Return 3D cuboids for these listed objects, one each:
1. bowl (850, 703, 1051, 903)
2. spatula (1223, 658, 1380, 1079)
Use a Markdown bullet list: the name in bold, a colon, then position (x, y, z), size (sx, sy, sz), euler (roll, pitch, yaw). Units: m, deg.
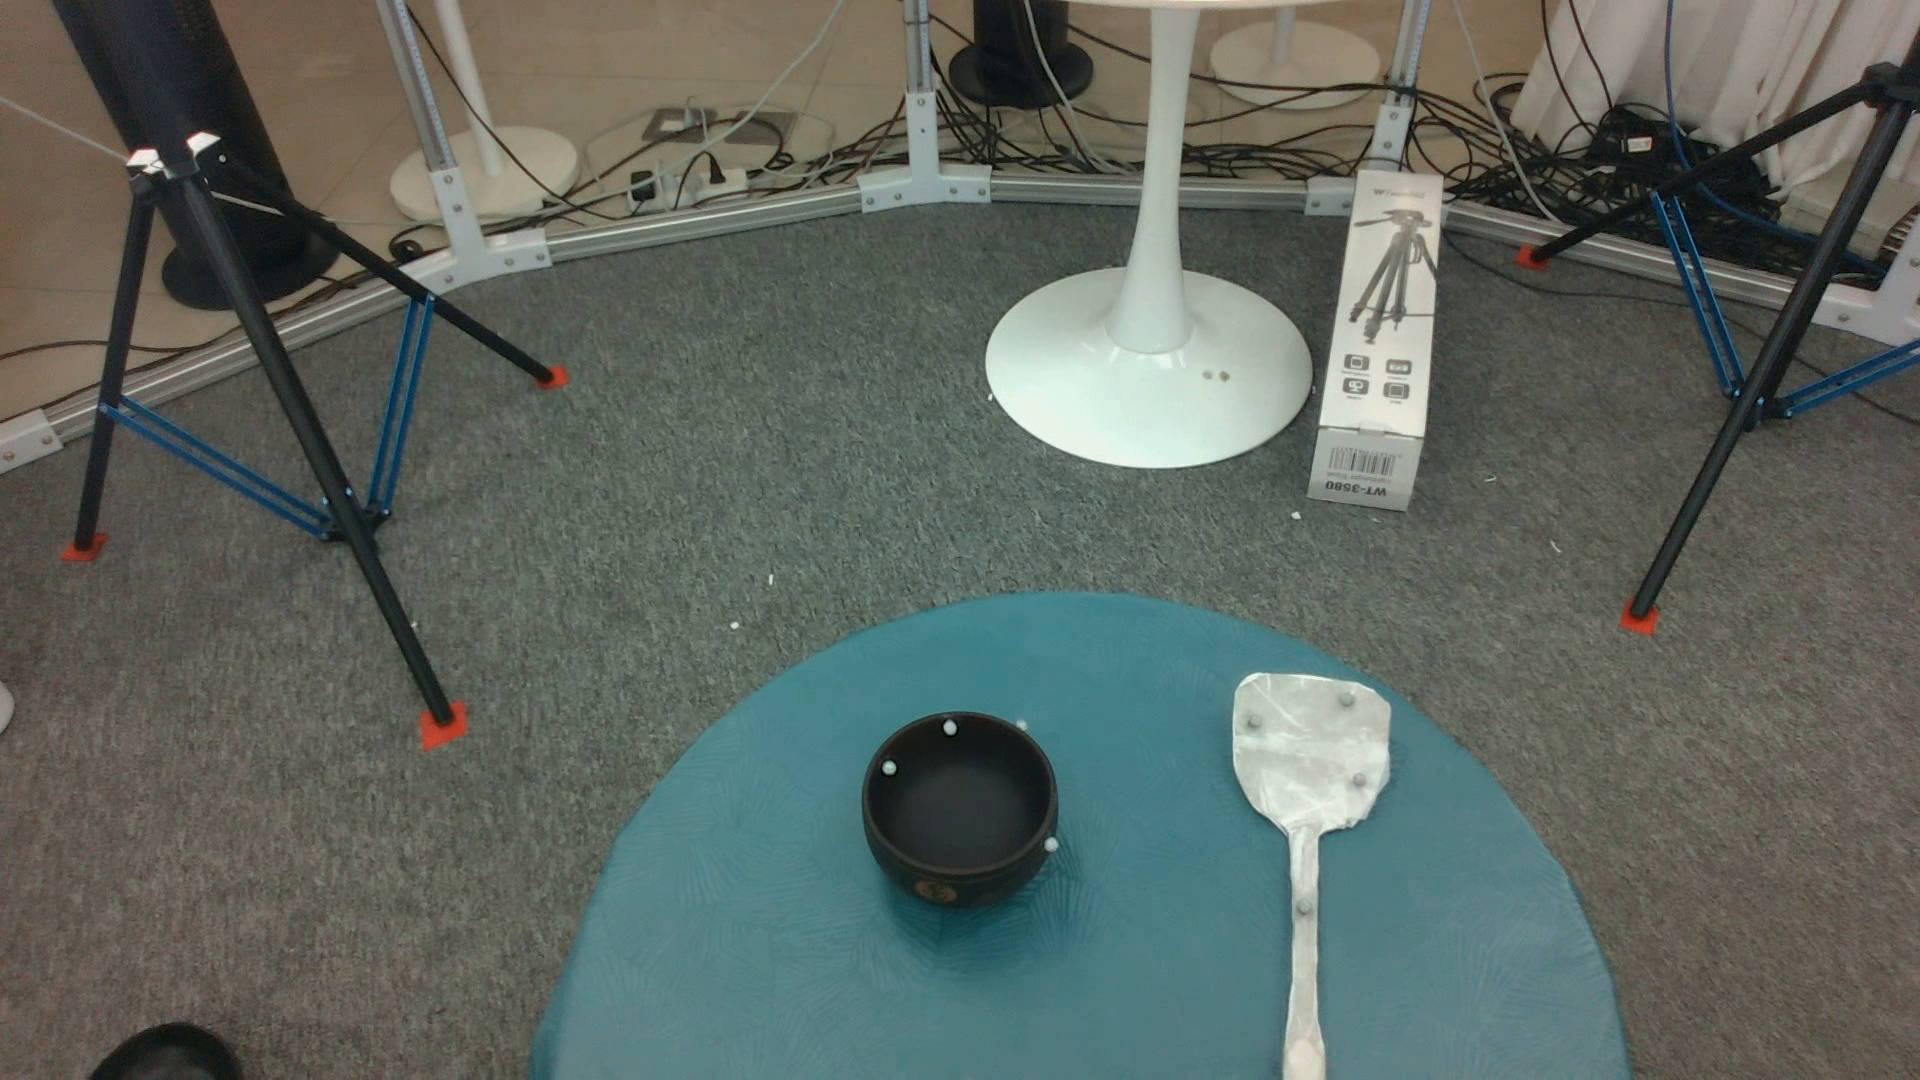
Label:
- **bowl**: position (-0.005, 0.163, 0.822), size (0.118, 0.069, 0.118), euler (-2, 46, 2)
- **spatula**: position (0.188, 0.221, 0.783), size (0.098, 0.044, 0.367), euler (9, 46, 7)
